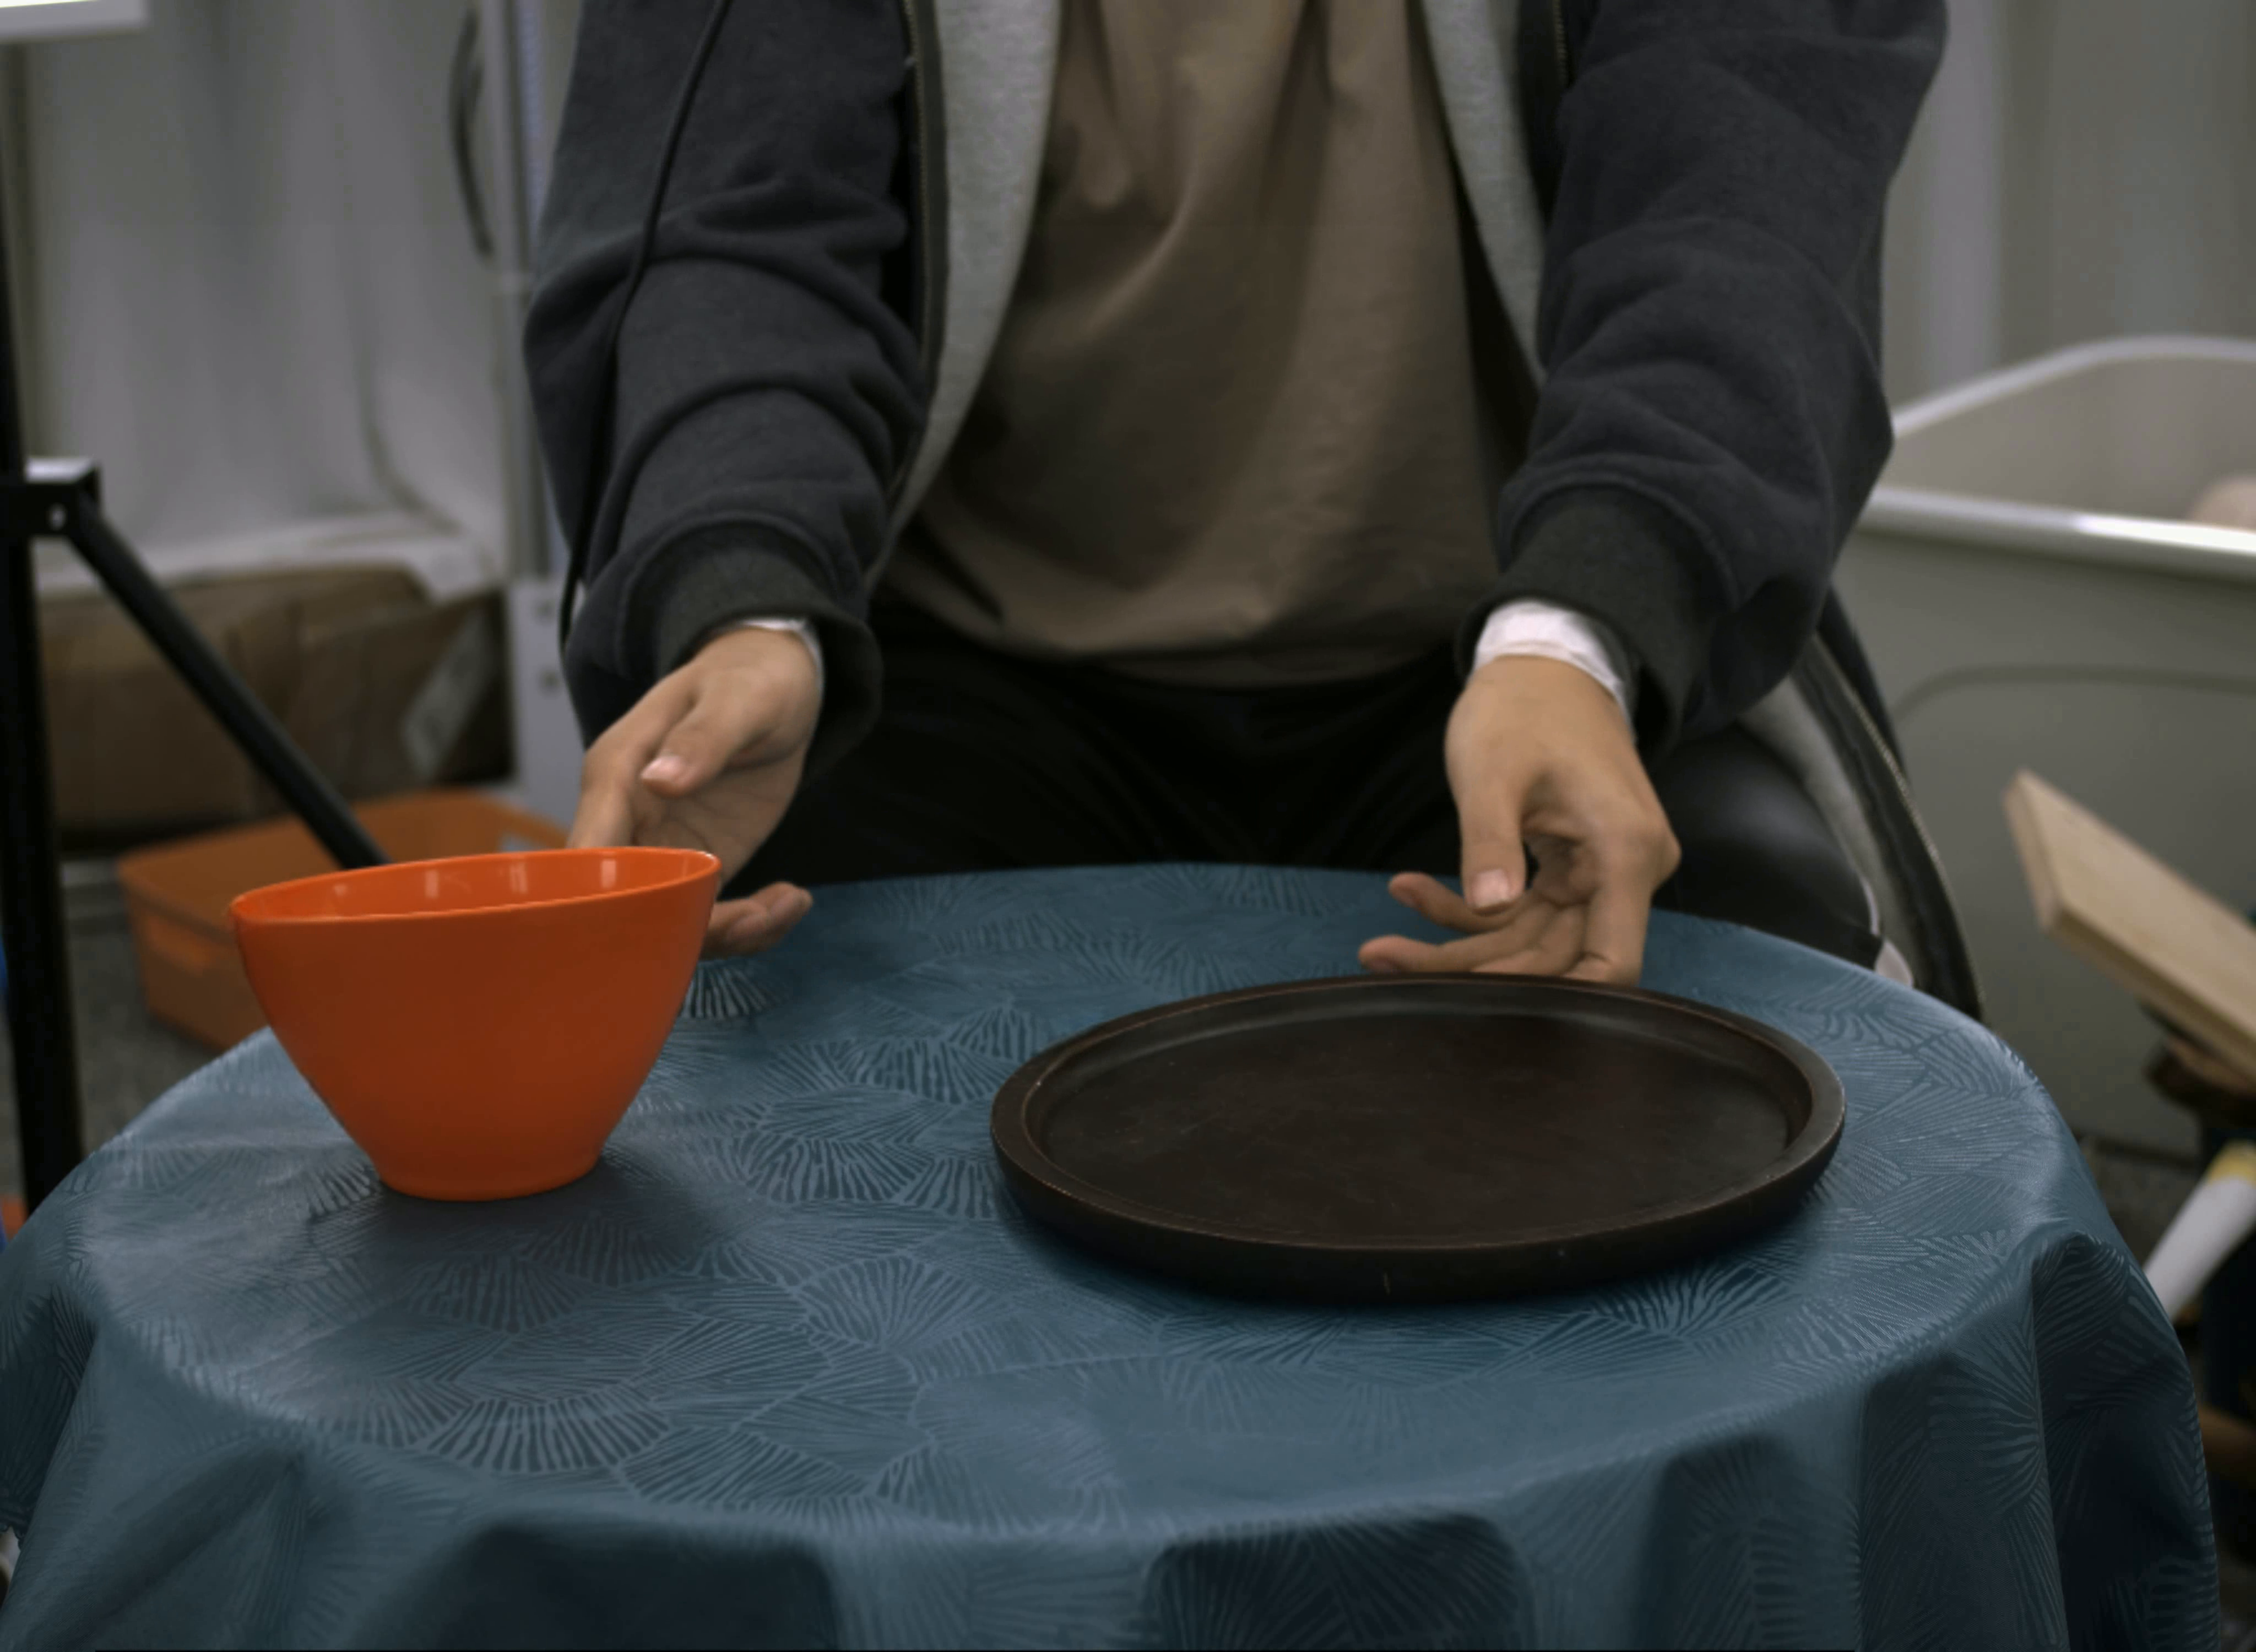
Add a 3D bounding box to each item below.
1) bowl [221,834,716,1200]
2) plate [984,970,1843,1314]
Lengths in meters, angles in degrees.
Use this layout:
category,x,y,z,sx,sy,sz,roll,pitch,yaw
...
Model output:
category,x,y,z,sx,sy,sz,roll,pitch,yaw
bowl,-0.192,0.056,1.590,0.147,0.104,0.149,-5,17,0
plate,0.084,0.091,1.565,0.253,0.029,0.256,-4,16,0
